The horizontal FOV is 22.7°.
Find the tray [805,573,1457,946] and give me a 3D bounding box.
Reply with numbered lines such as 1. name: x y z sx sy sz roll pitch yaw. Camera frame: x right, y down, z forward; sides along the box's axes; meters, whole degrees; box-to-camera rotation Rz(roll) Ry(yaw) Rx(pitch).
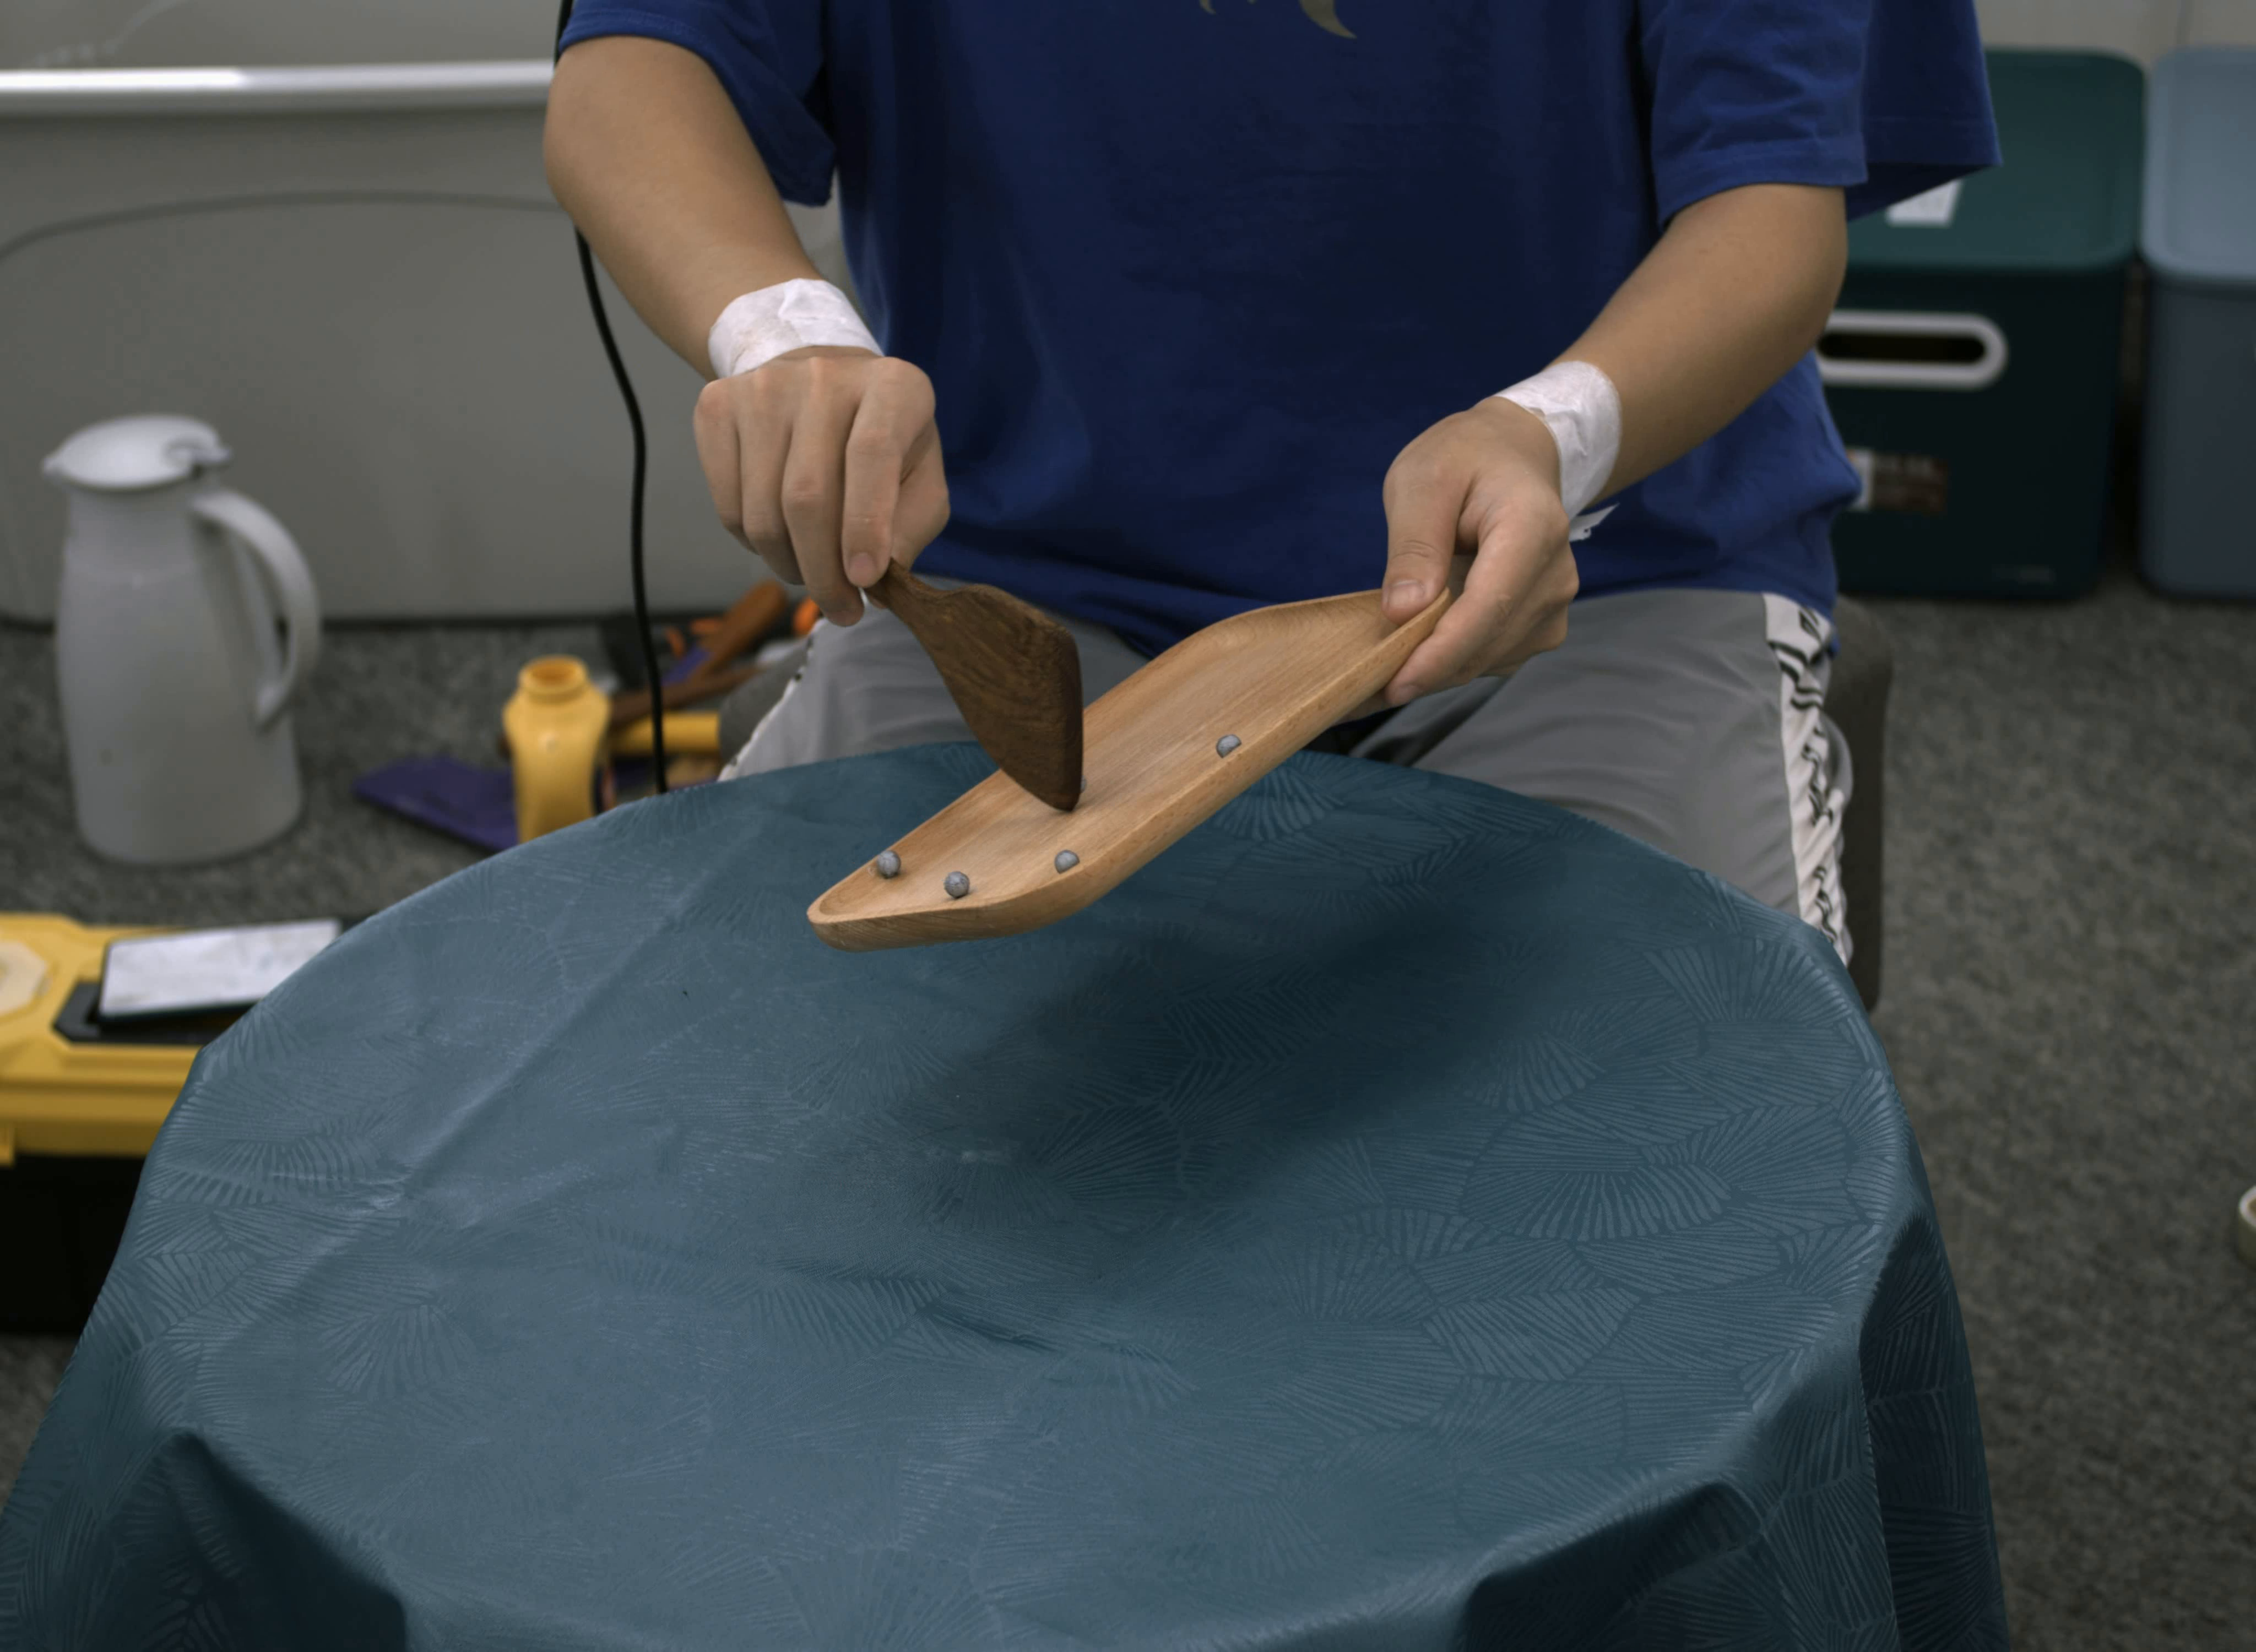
1. tray: 0.004 -0.023 1.901 0.129 0.023 0.254 -4 23 44

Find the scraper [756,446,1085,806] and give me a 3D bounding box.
1. scraper: -0.075 -0.079 1.929 0.011 0.075 0.212 -19 36 -27
